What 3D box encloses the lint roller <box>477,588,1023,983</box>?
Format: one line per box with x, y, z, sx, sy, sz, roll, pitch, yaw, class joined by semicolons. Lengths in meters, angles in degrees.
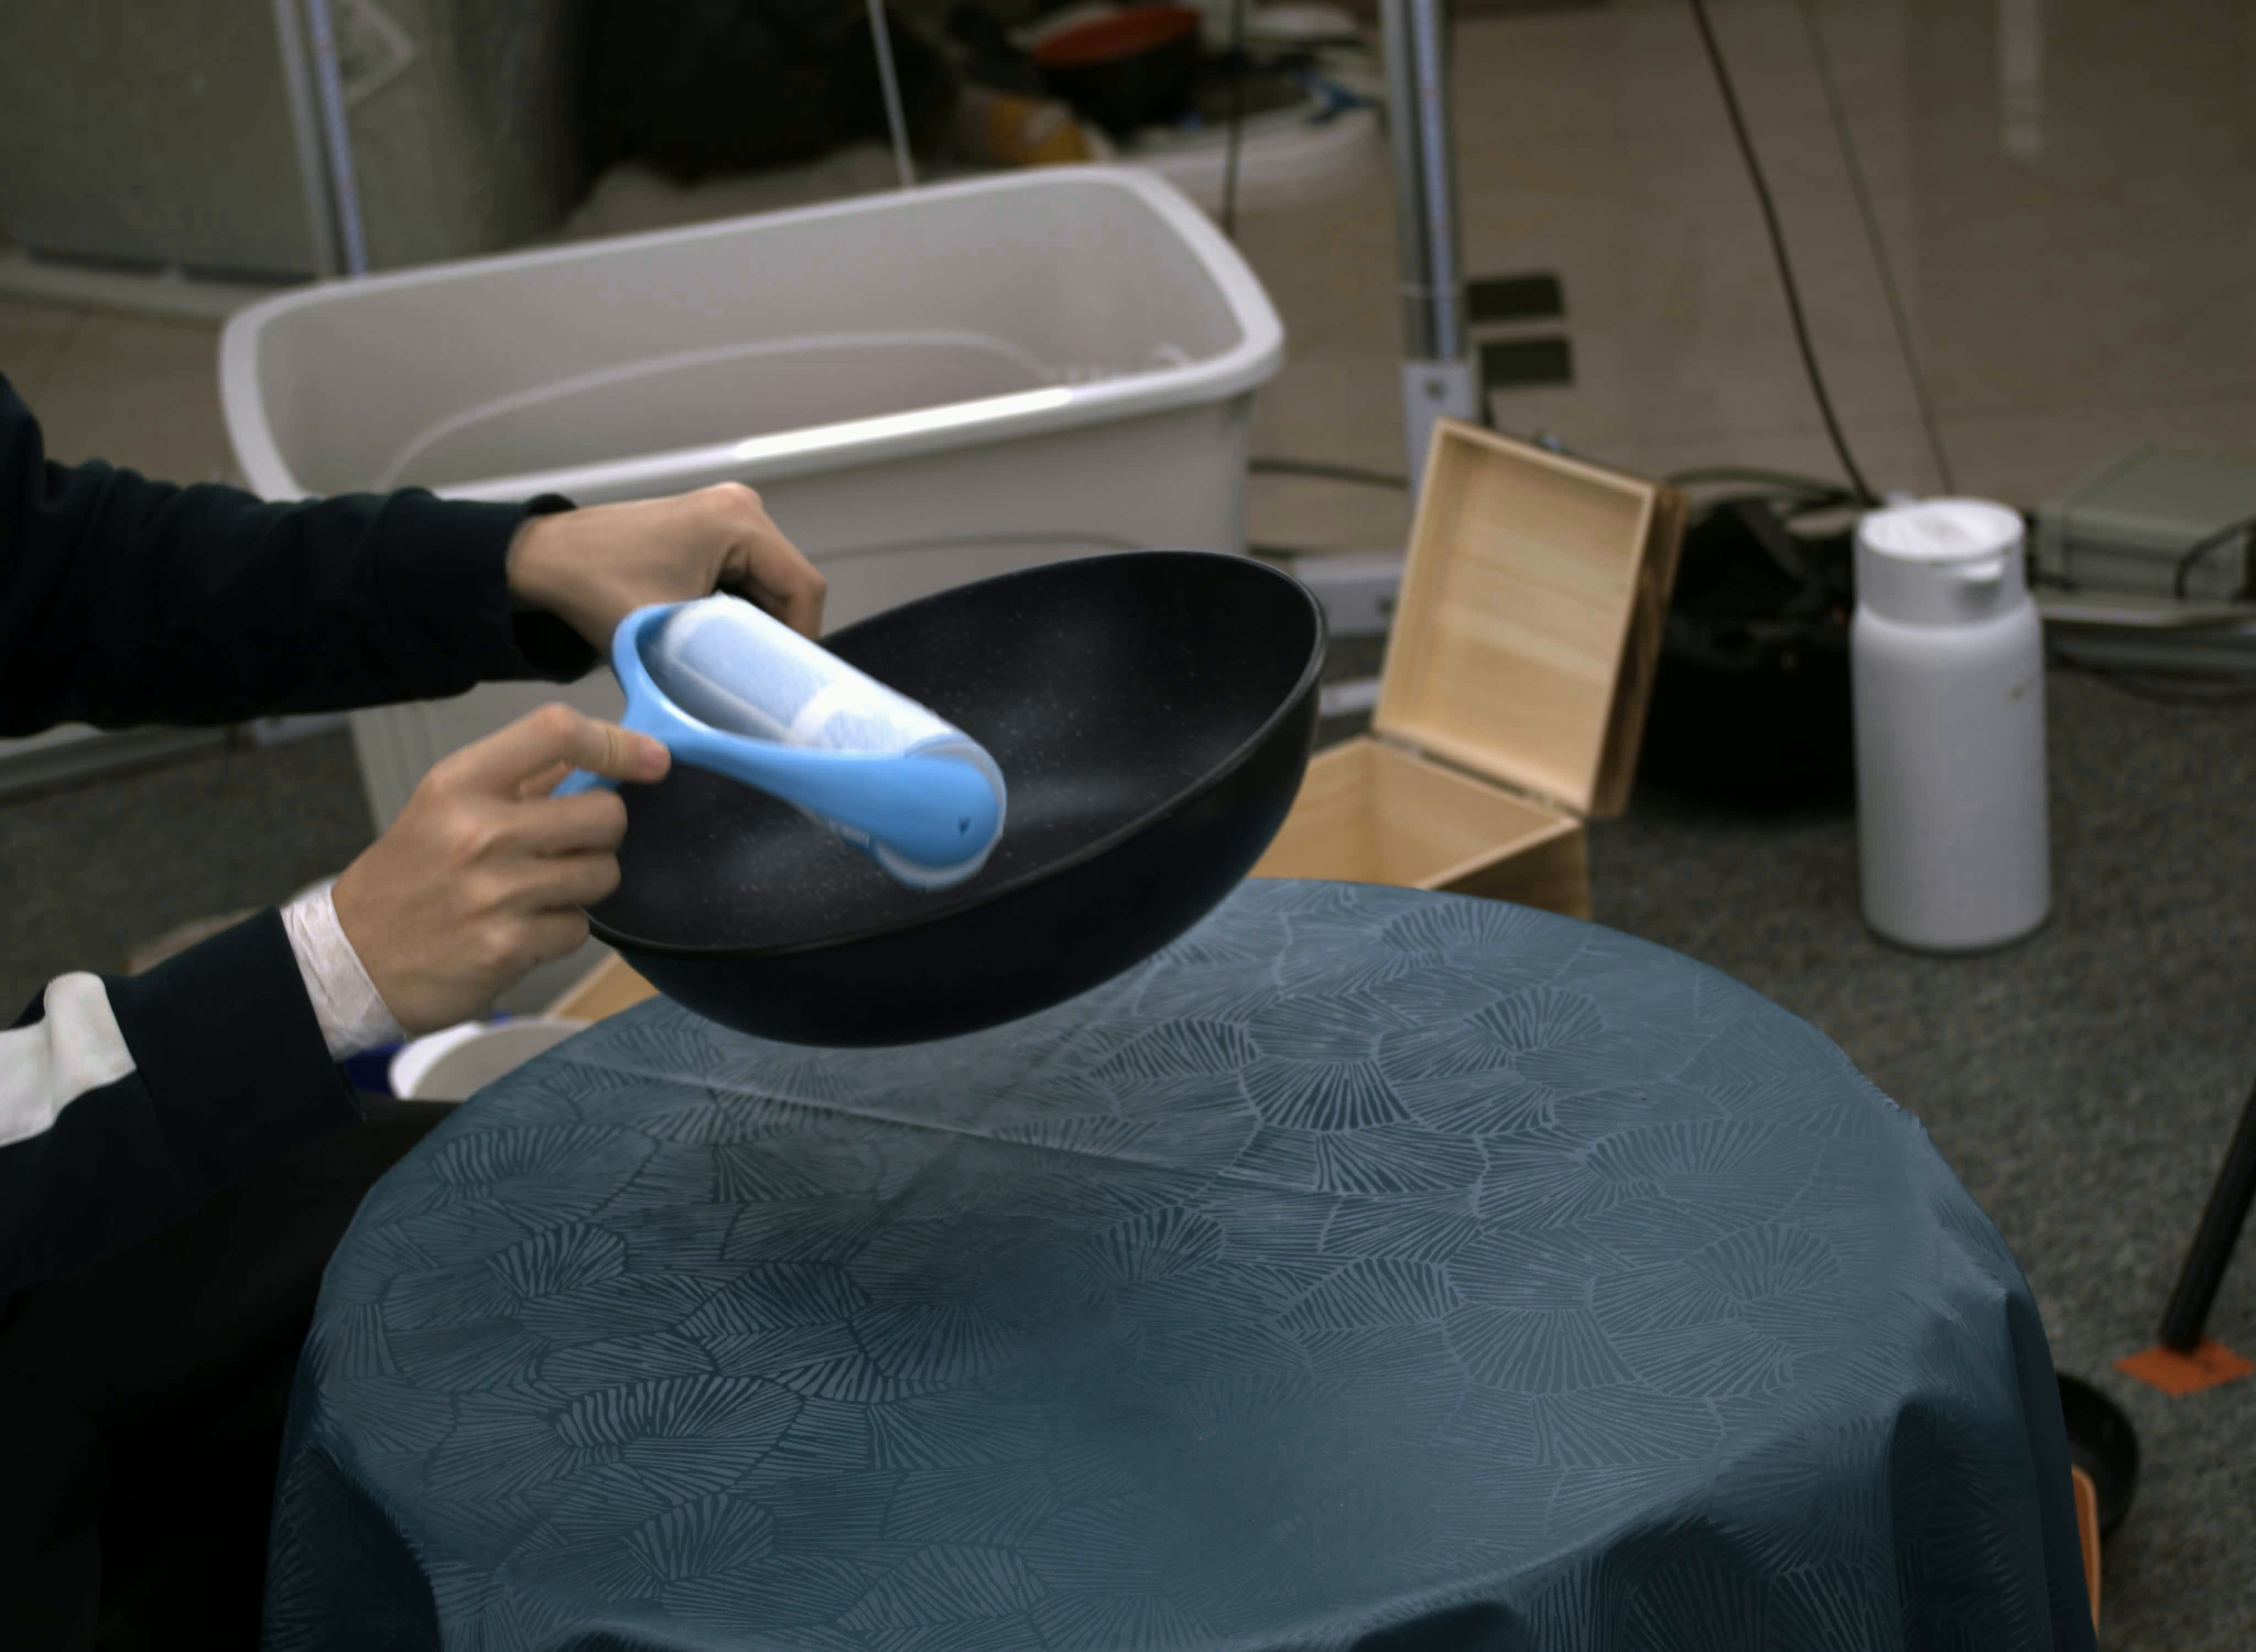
-0.156;-0.012;1.987;0.179;0.069;0.227;-29;31;-24;lint roller

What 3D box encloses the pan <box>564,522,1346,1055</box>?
-0.097;-0.024;2.224;0.308;0.113;0.472;-27;25;-19;pan
